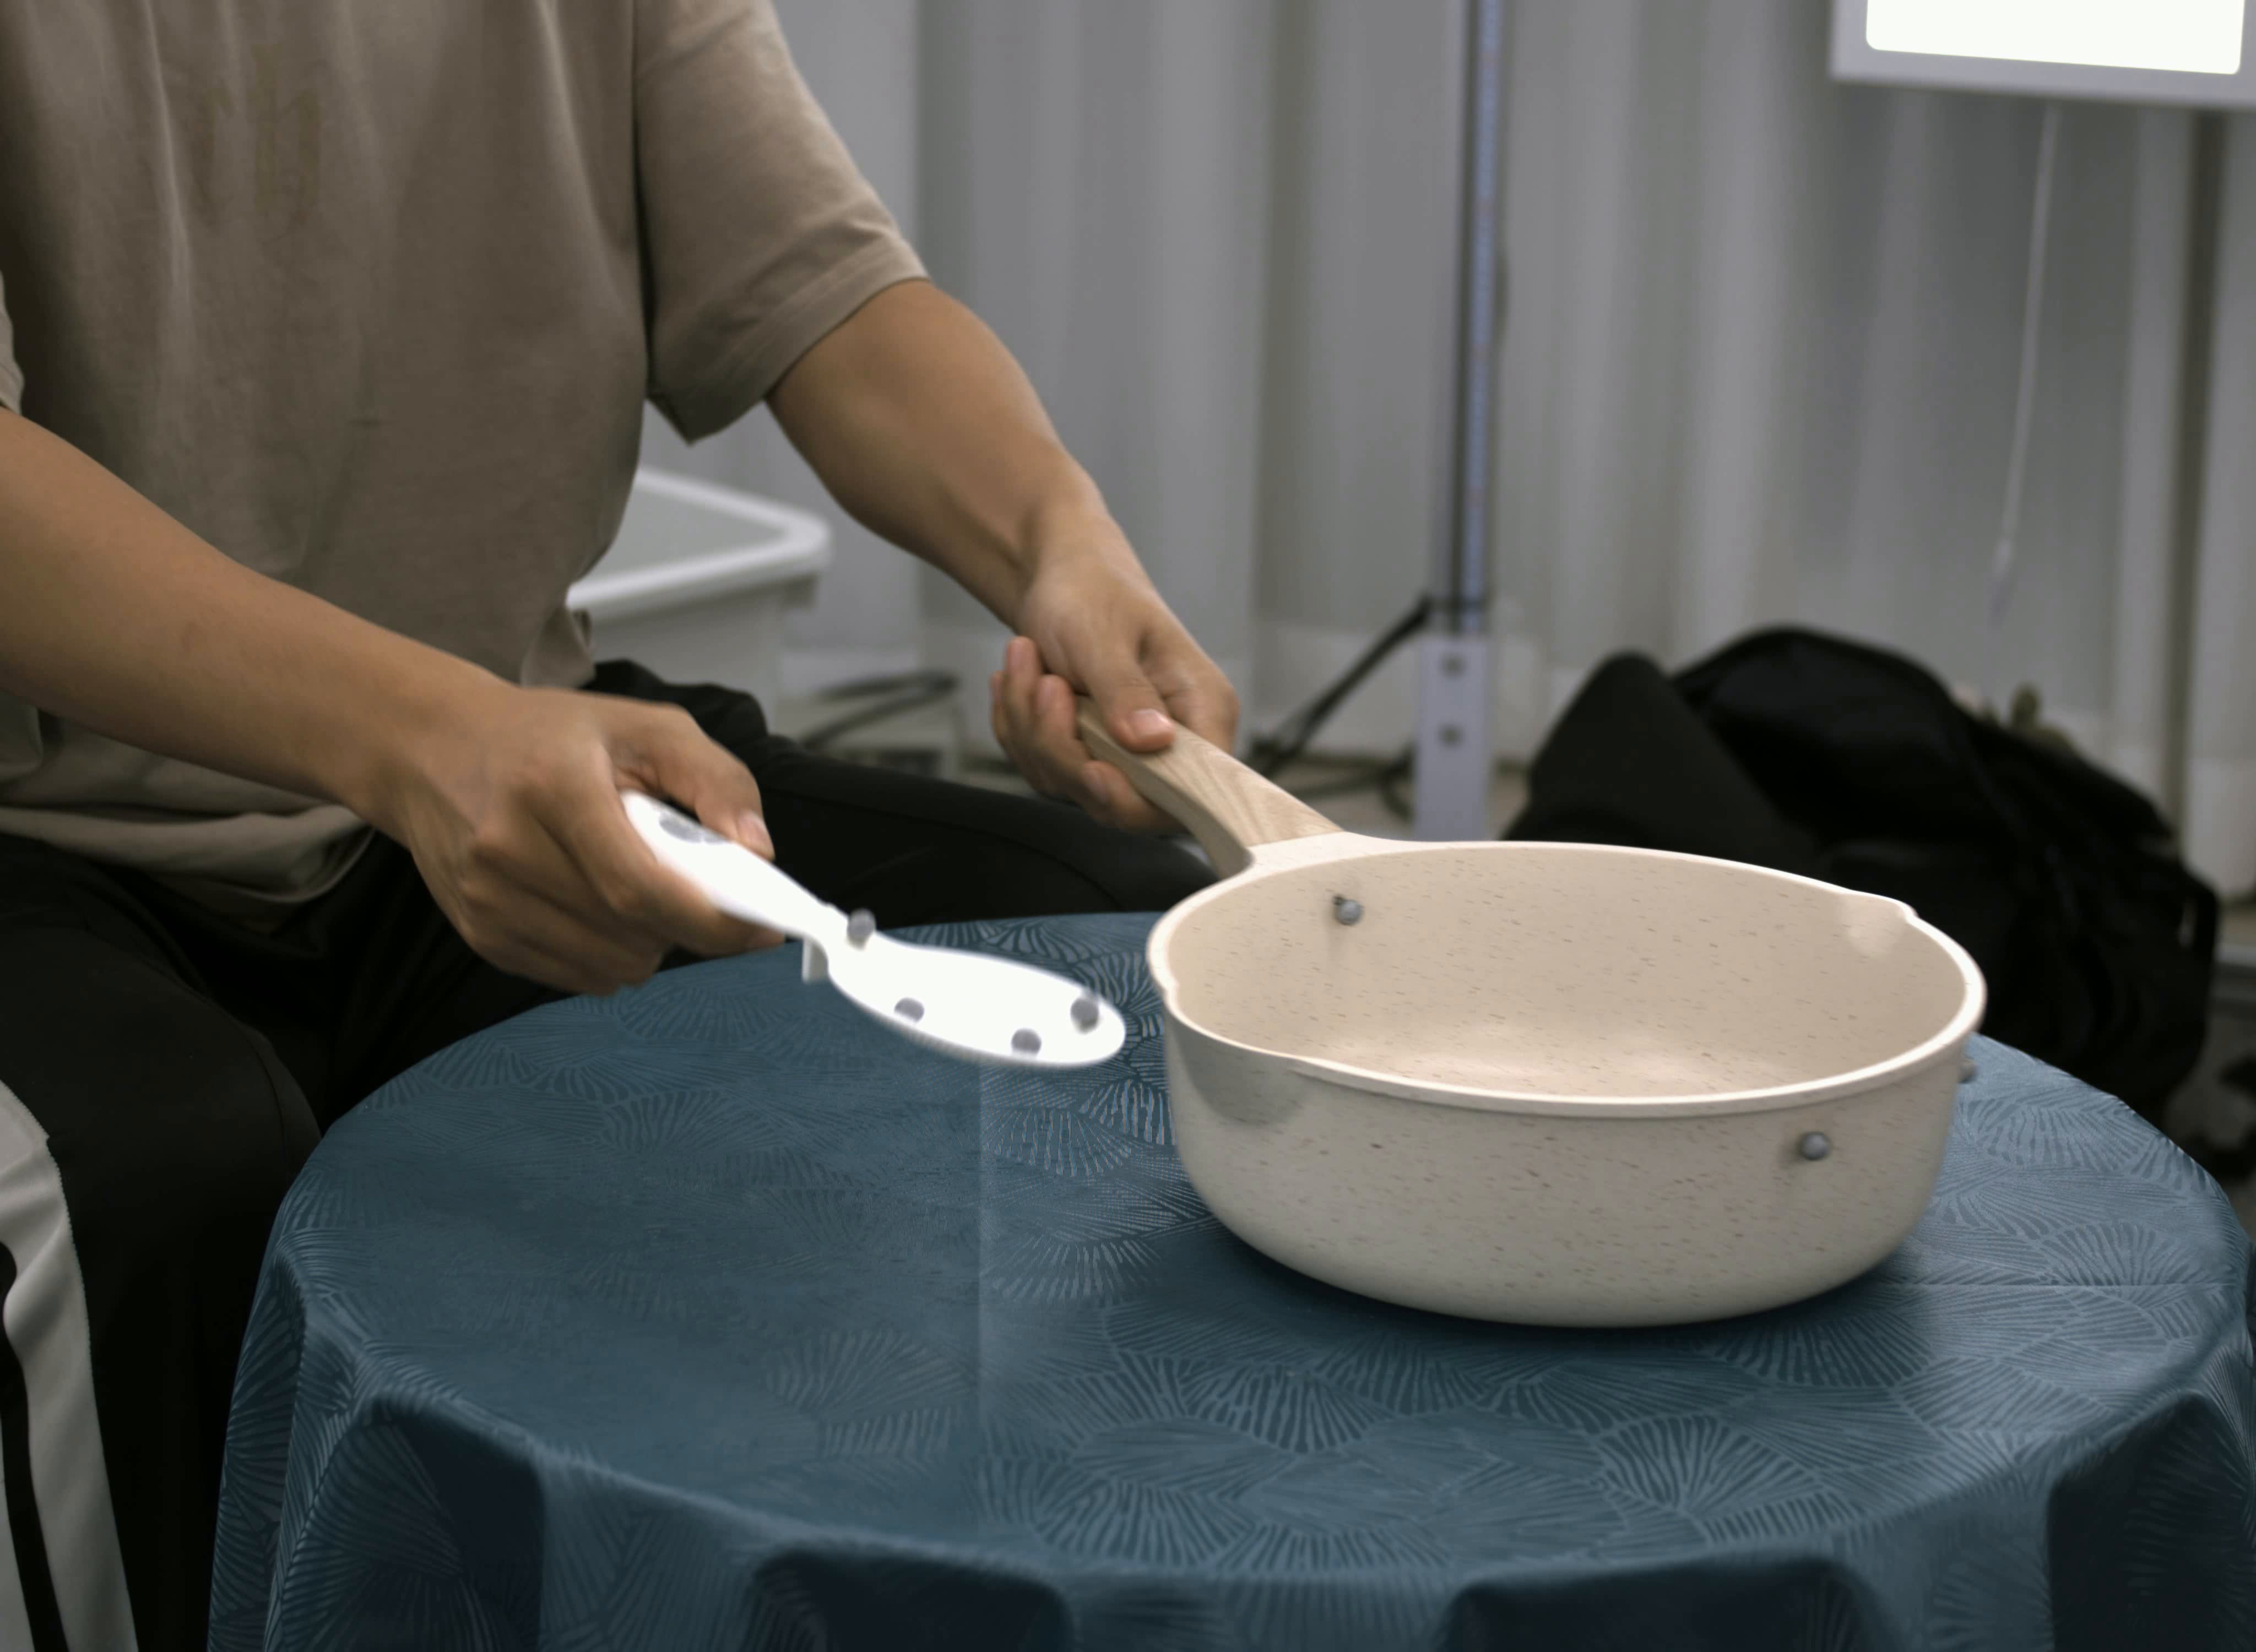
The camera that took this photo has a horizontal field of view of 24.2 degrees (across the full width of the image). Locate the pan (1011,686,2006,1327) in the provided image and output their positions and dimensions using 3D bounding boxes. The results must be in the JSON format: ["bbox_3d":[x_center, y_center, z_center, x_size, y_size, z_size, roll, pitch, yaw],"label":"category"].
[{"bbox_3d":[0.089,0.051,1.667,0.264,0.103,0.429,-11,20,-31],"label":"pan"}]

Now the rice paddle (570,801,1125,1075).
[{"bbox_3d":[-0.080,0.034,1.478,0.202,0.029,0.069,21,21,41],"label":"rice paddle"}]
